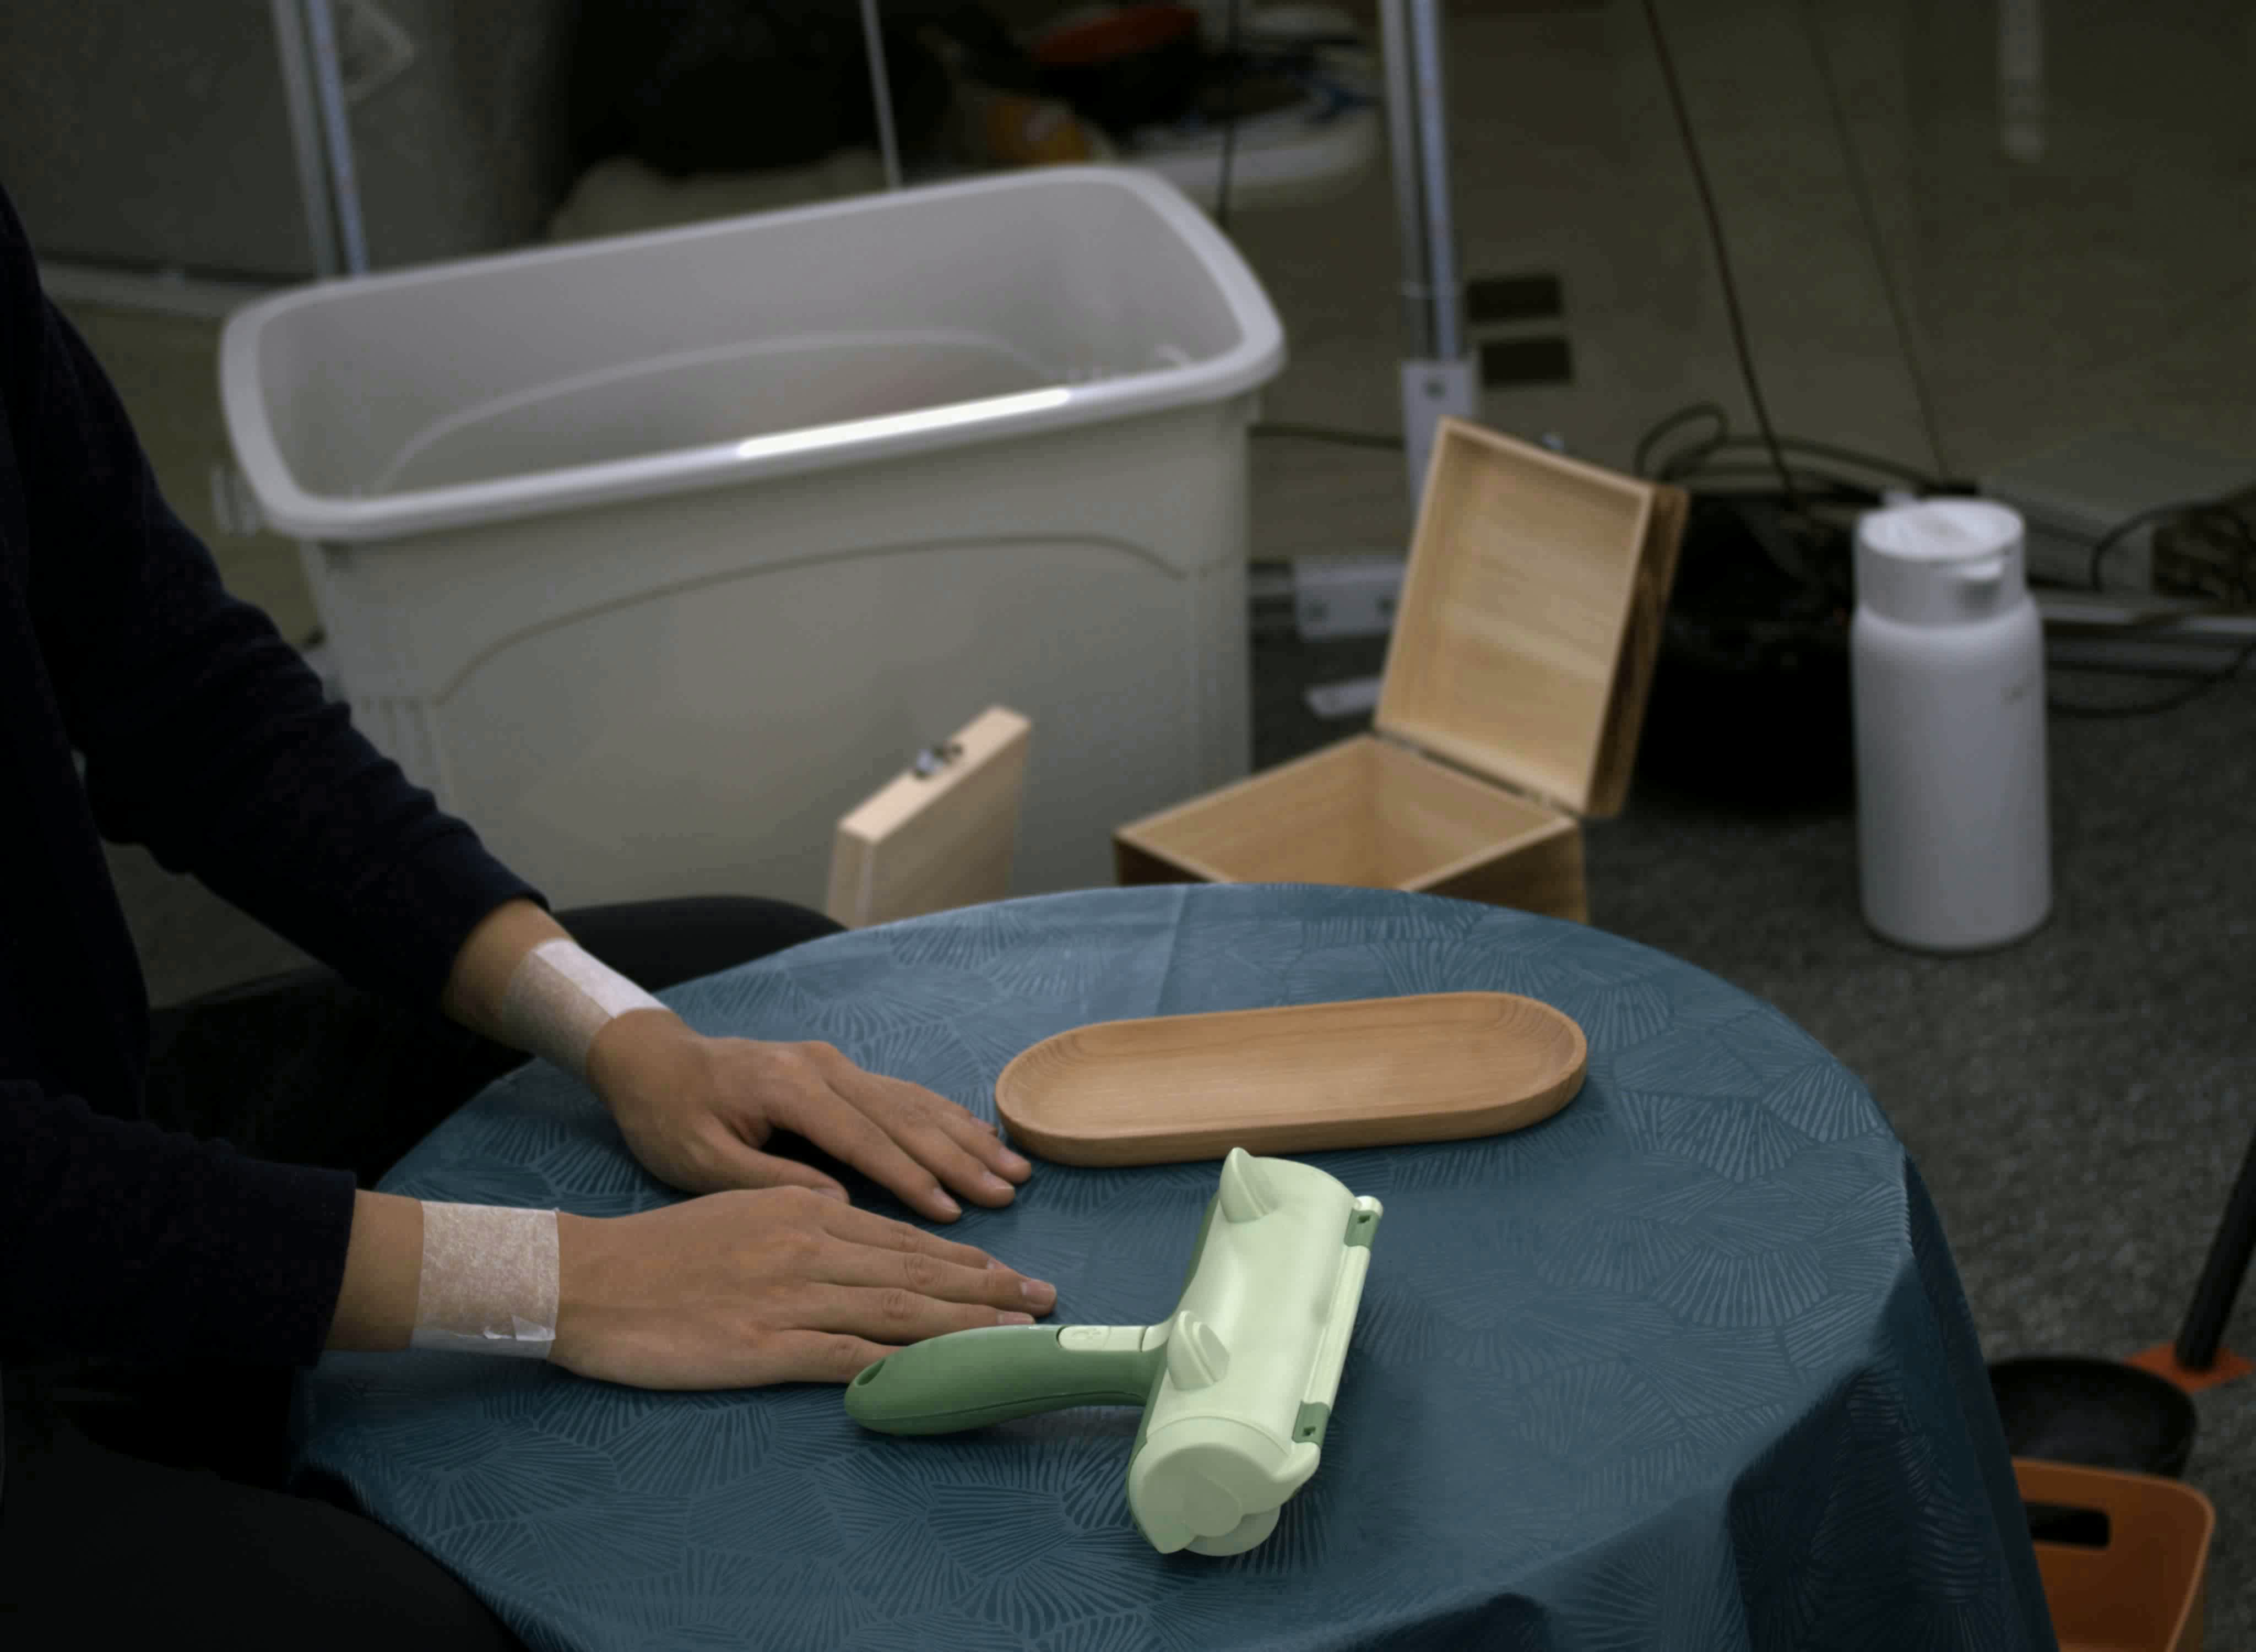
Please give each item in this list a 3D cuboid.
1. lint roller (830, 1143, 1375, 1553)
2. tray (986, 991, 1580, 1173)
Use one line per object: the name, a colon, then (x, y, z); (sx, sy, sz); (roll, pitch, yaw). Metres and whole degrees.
lint roller: (-0.015, 0.171, 1.976); (0.183, 0.083, 0.196); (4, 26, 8)
tray: (0.060, 0.100, 2.197); (0.231, 0.020, 0.100); (-7, 24, 4)
